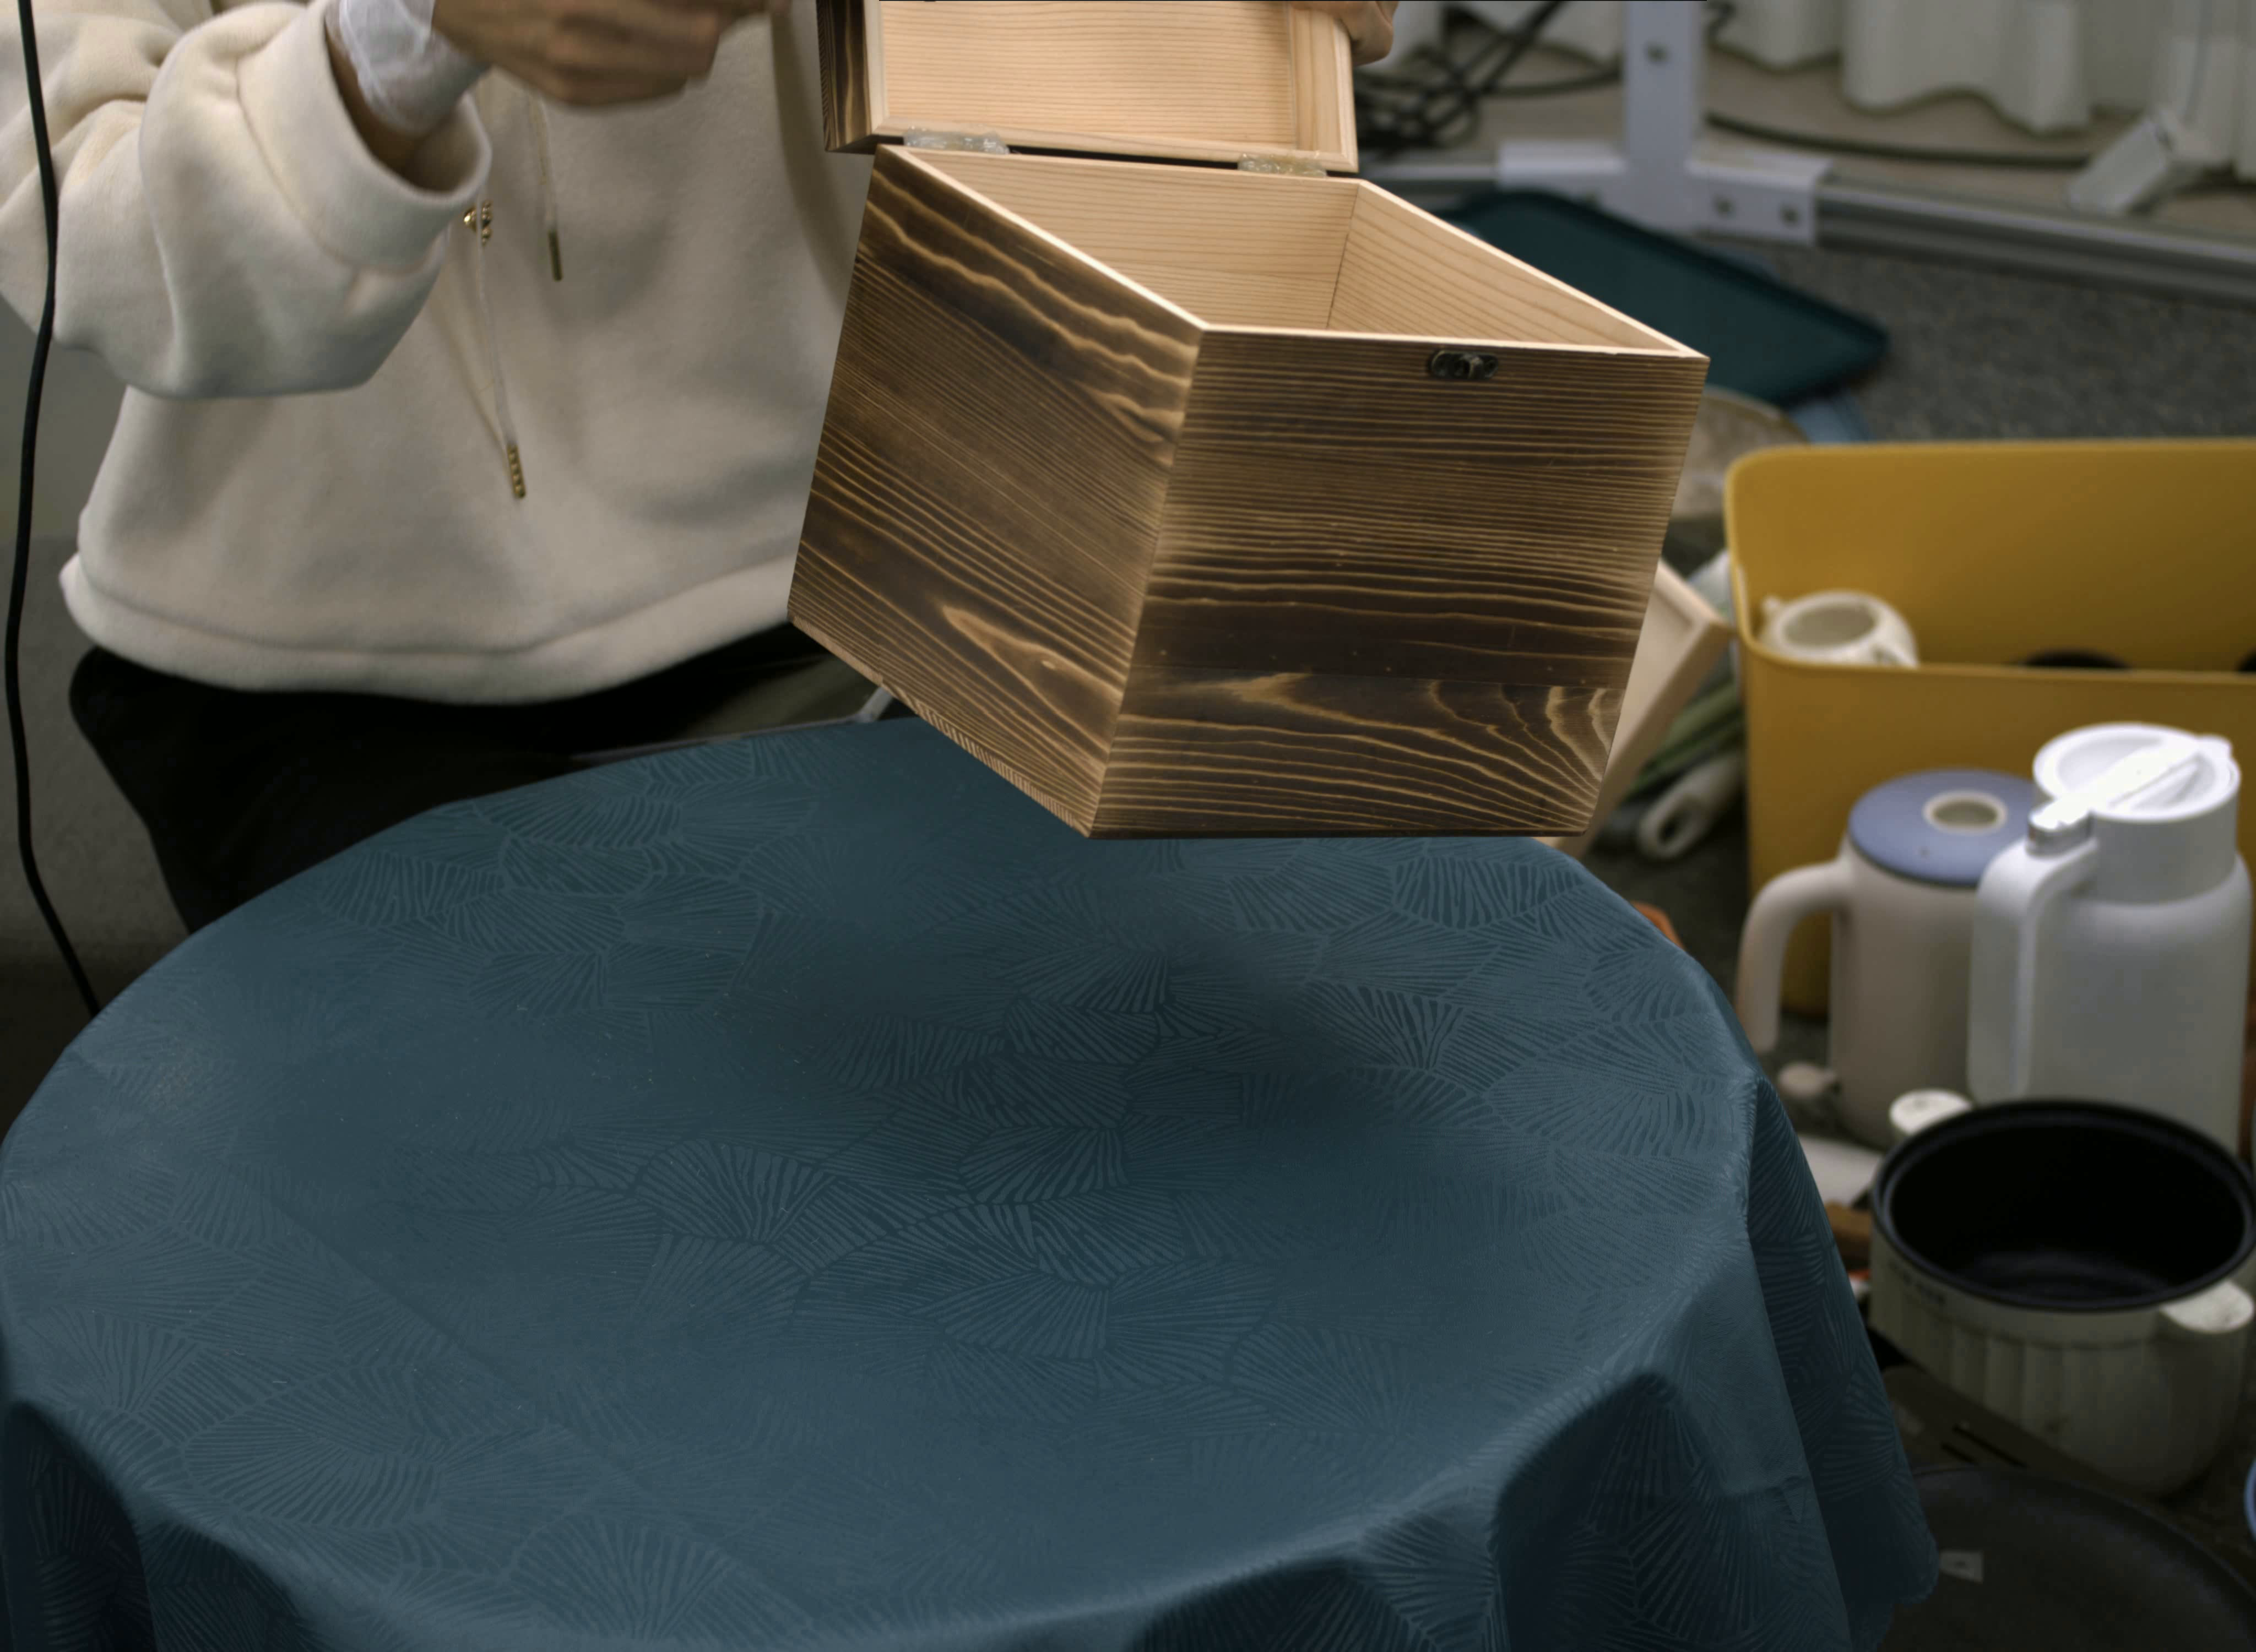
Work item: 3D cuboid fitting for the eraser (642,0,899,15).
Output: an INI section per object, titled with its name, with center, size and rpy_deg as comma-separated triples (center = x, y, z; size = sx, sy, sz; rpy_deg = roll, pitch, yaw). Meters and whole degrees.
[eraser]
center = -0.113, -0.299, 1.870
size = 0.047, 0.054, 0.161
rpy_deg = 5, 1, -37

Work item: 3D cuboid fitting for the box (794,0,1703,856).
[box]
center = 0.026, -0.219, 1.882
size = 0.209, 0.373, 0.323
rpy_deg = 1, 19, -34
